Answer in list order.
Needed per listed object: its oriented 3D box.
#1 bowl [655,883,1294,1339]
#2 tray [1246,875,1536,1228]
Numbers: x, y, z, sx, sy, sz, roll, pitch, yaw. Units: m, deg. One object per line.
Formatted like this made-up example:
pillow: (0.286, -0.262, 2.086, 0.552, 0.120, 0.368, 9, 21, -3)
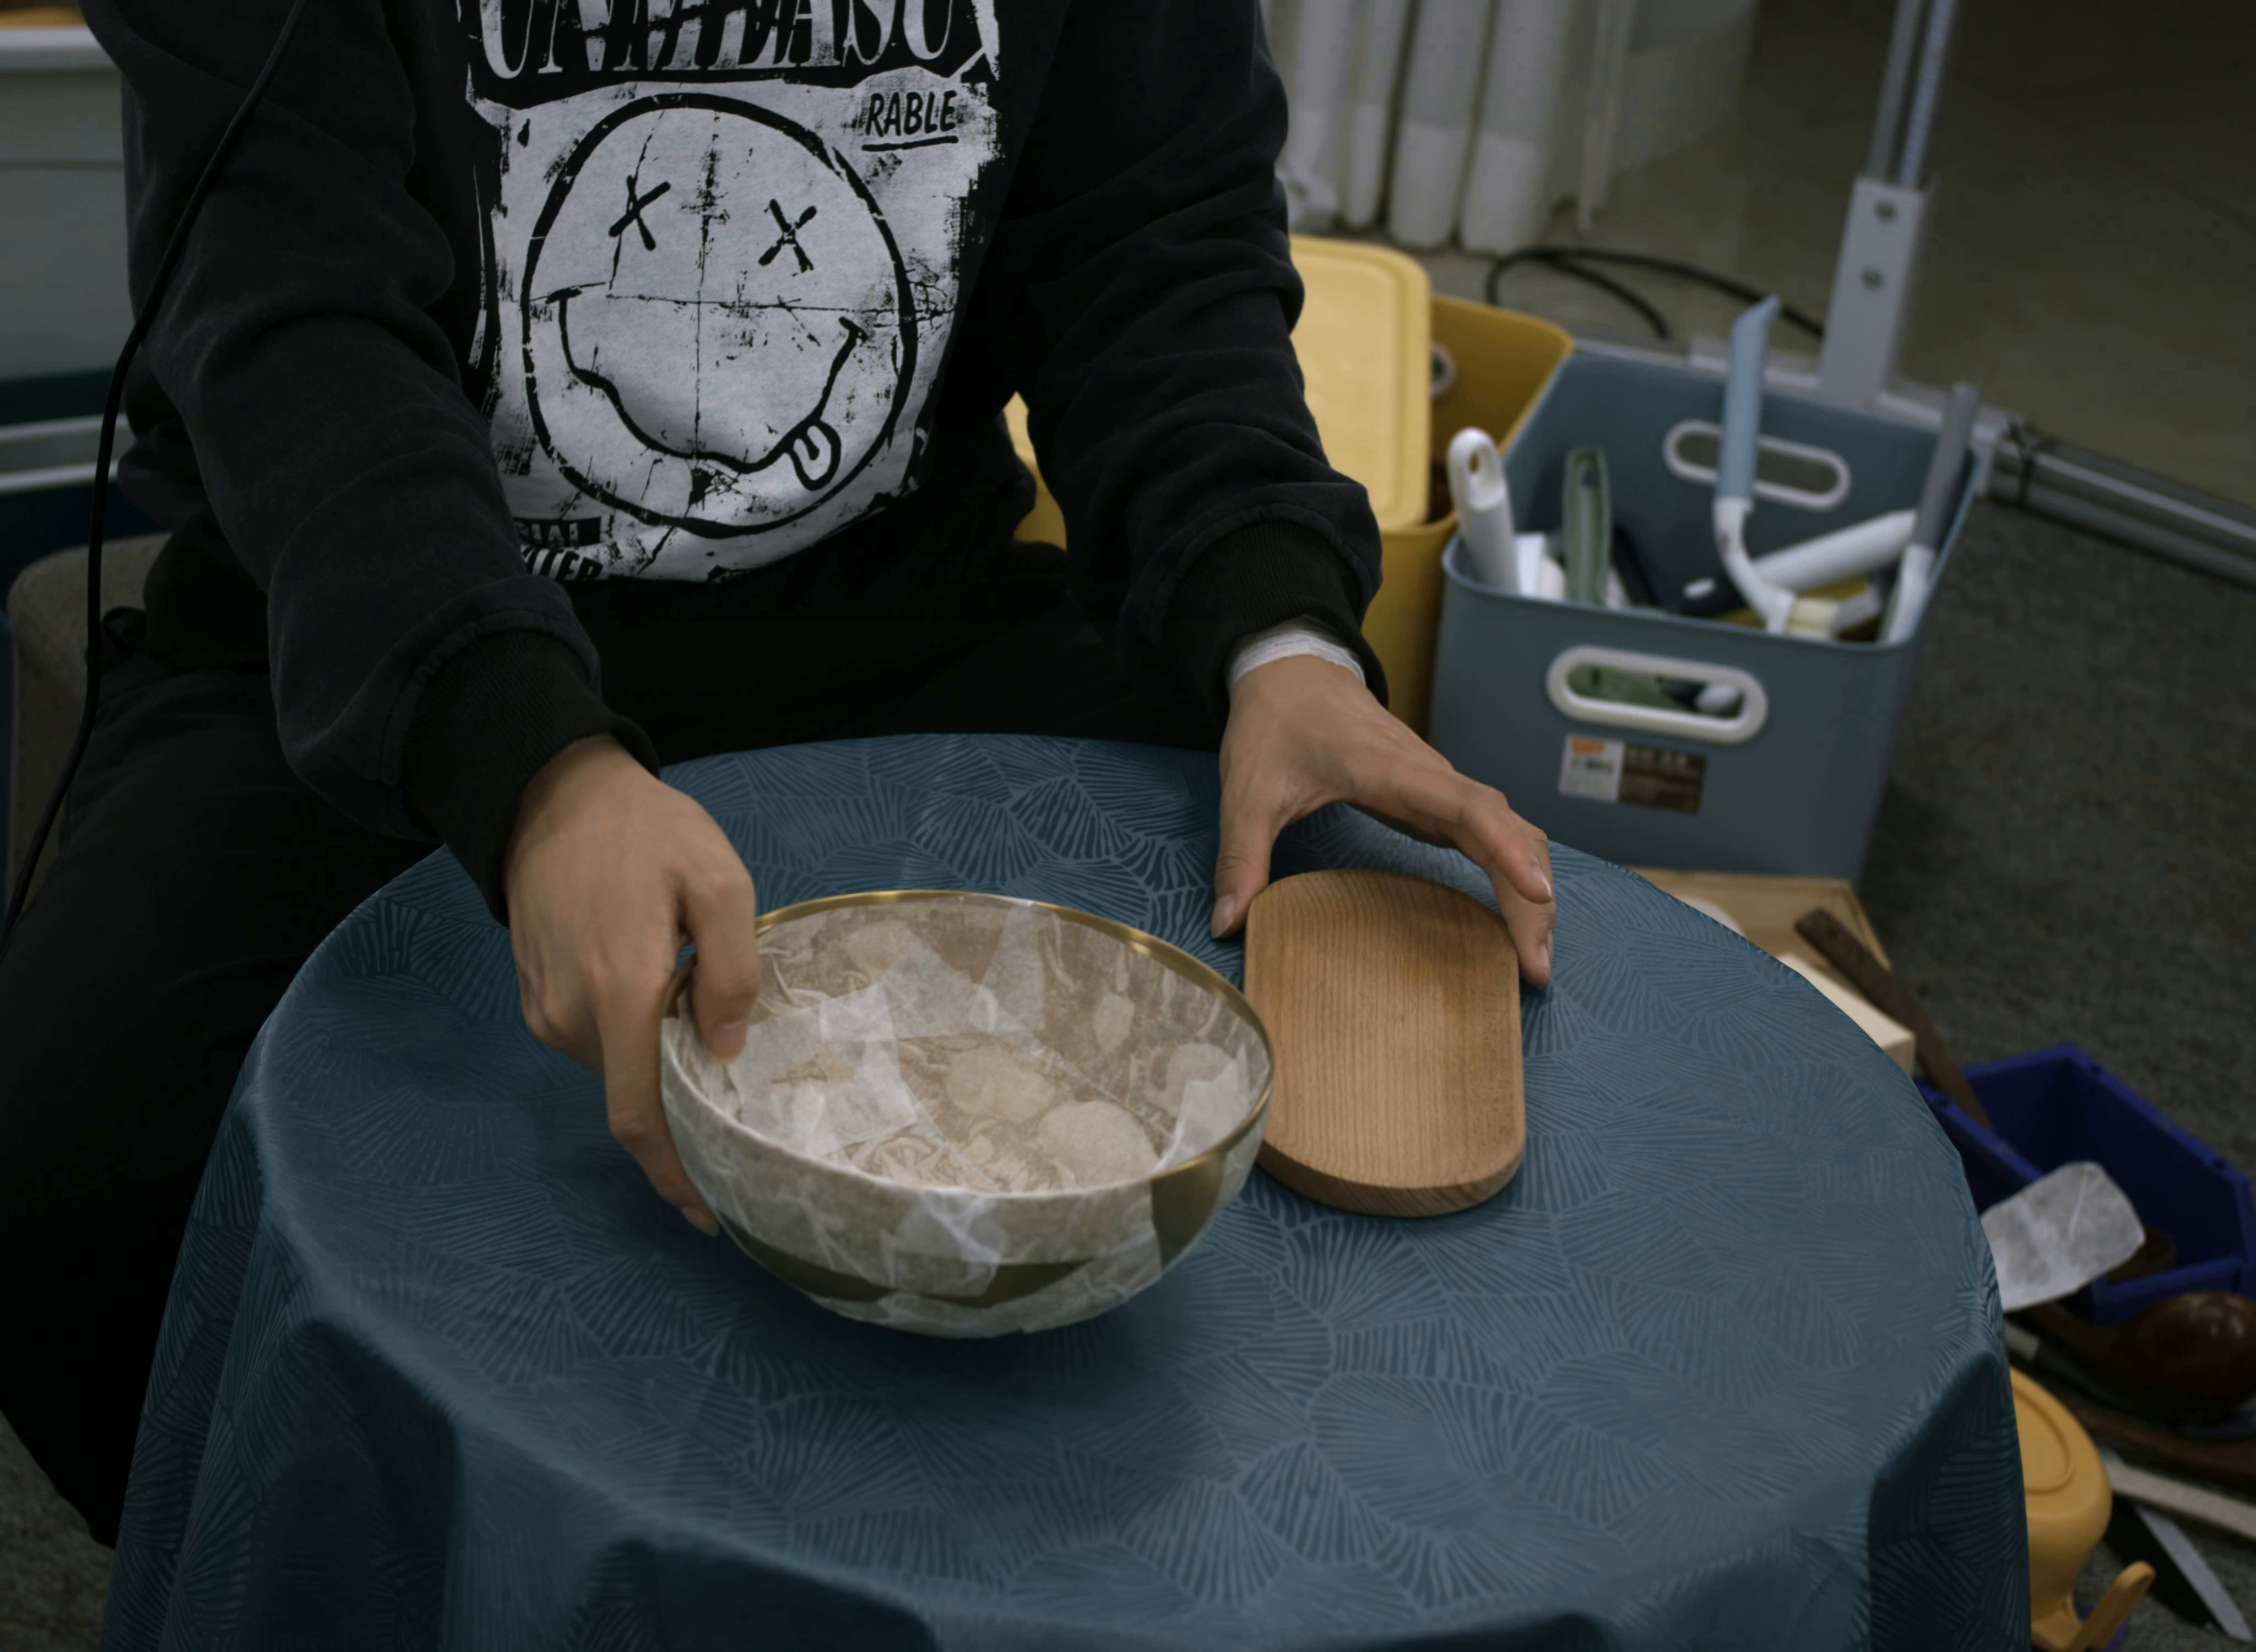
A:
bowl: (-0.052, 0.103, 1.724, 0.214, 0.094, 0.216, 4, 27, -2)
tray: (0.092, 0.078, 1.895, 0.101, 0.020, 0.232, 4, 29, 0)
